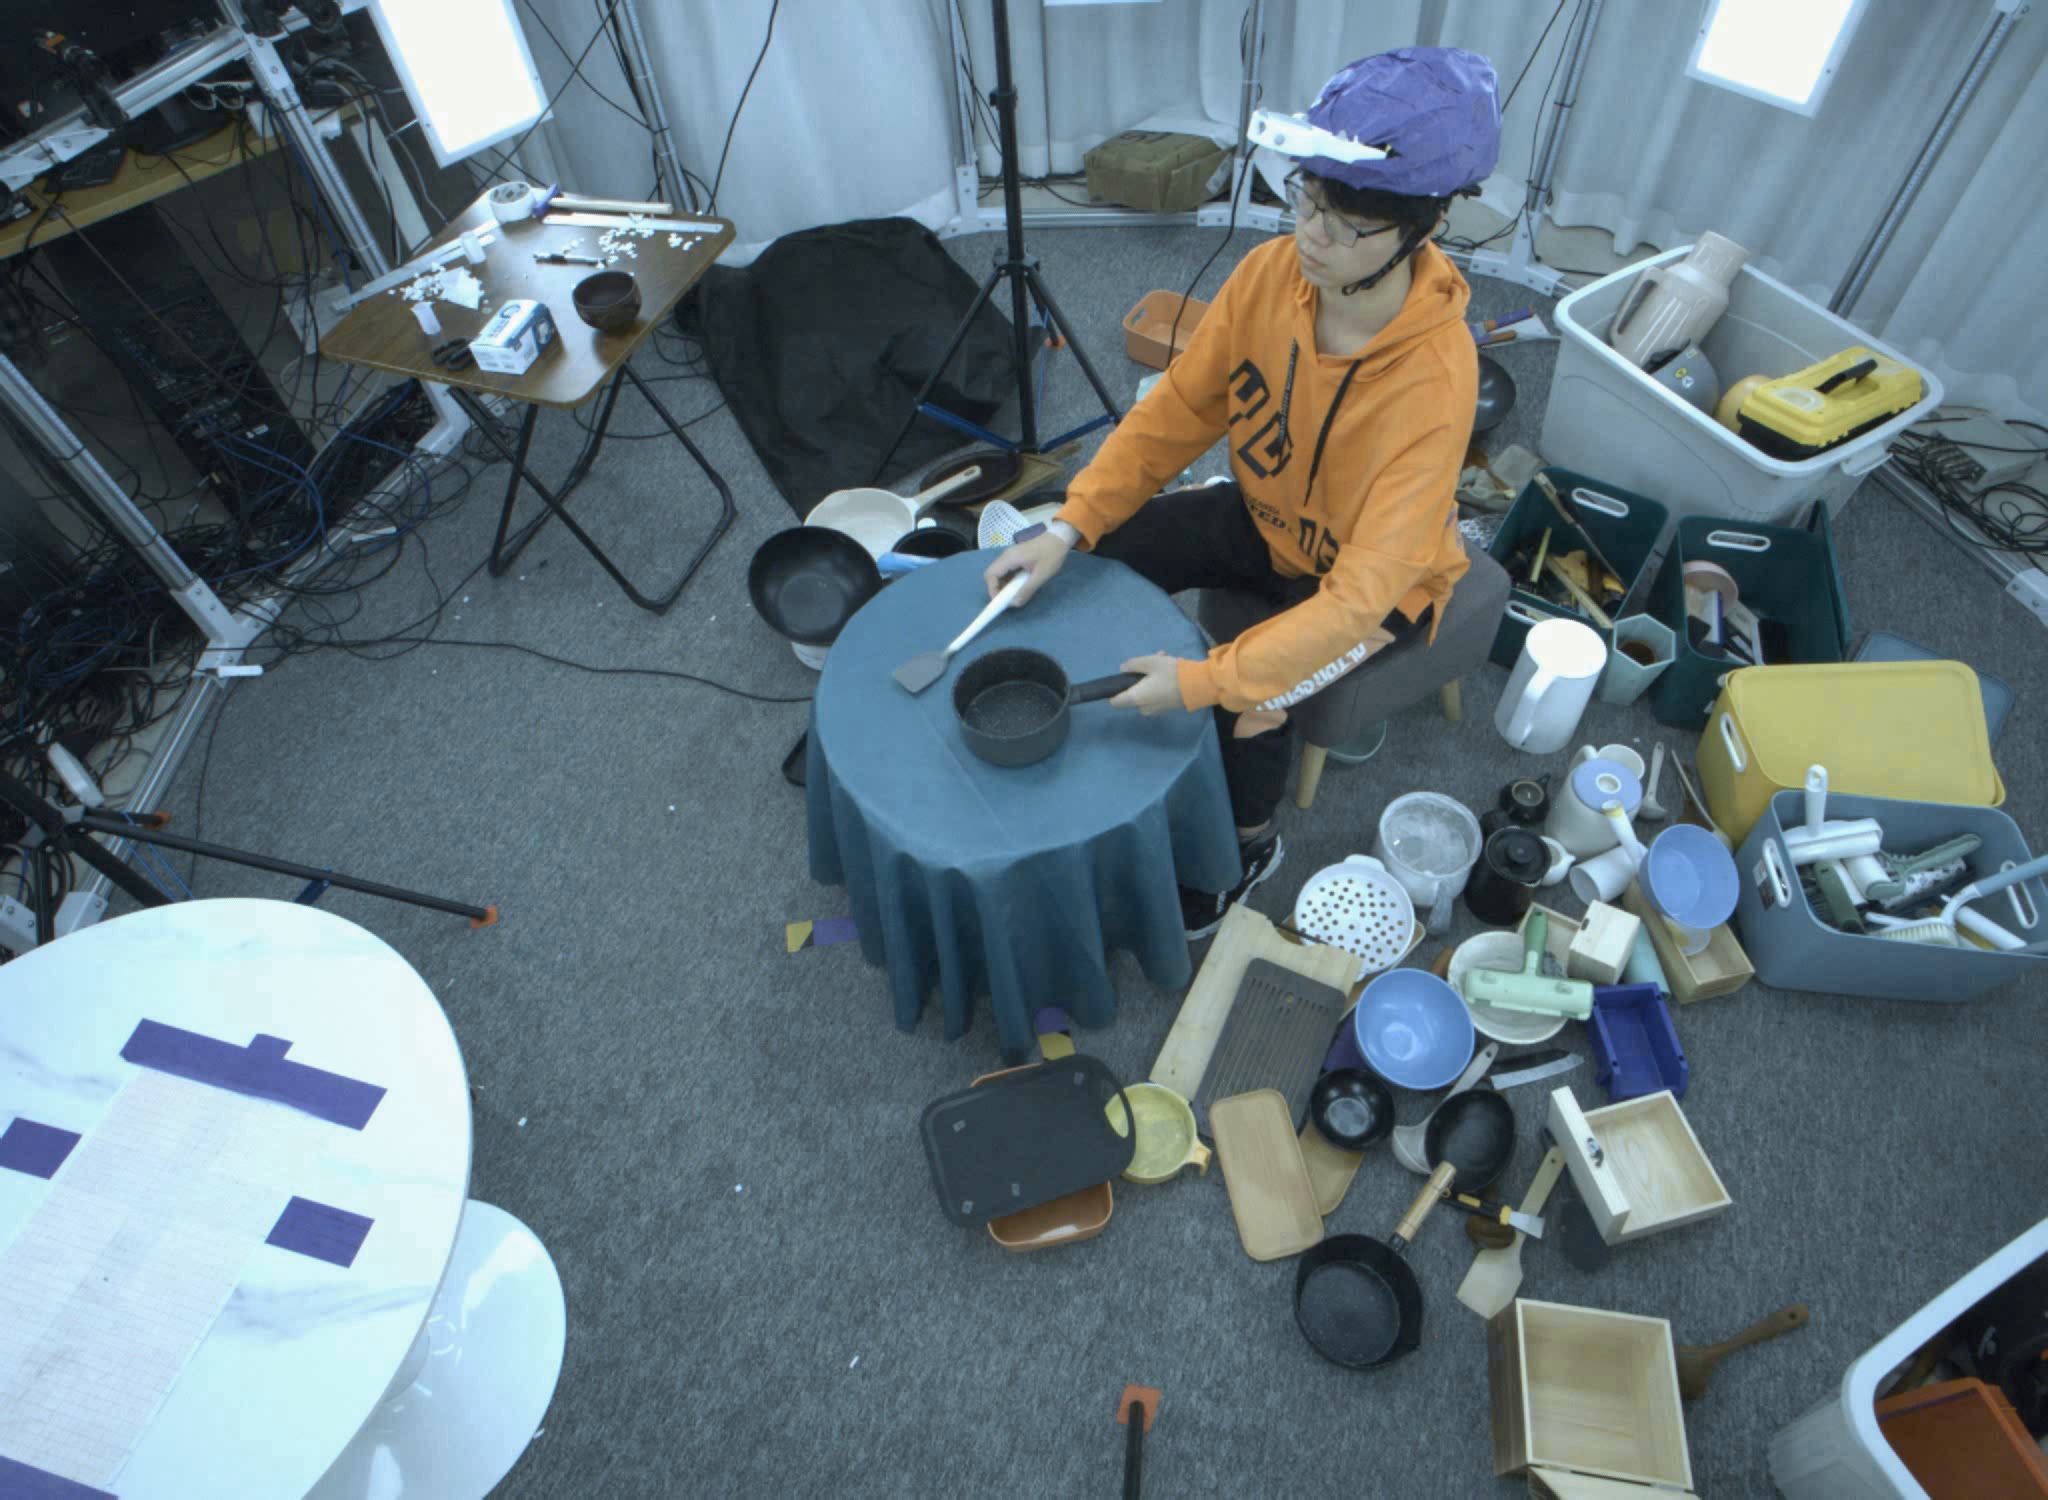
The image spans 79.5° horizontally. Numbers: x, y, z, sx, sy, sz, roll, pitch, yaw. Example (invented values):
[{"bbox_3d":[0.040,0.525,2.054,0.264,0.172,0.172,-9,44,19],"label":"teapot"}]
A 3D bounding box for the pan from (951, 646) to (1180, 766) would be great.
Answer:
[{"bbox_3d":[0.062,-0.071,1.777,0.328,0.087,0.170,-5,55,4],"label":"pan"}]

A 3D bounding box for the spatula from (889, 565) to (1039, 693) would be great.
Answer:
[{"bbox_3d":[-0.087,-0.187,1.897,0.058,0.032,0.289,43,72,14],"label":"spatula"}]
